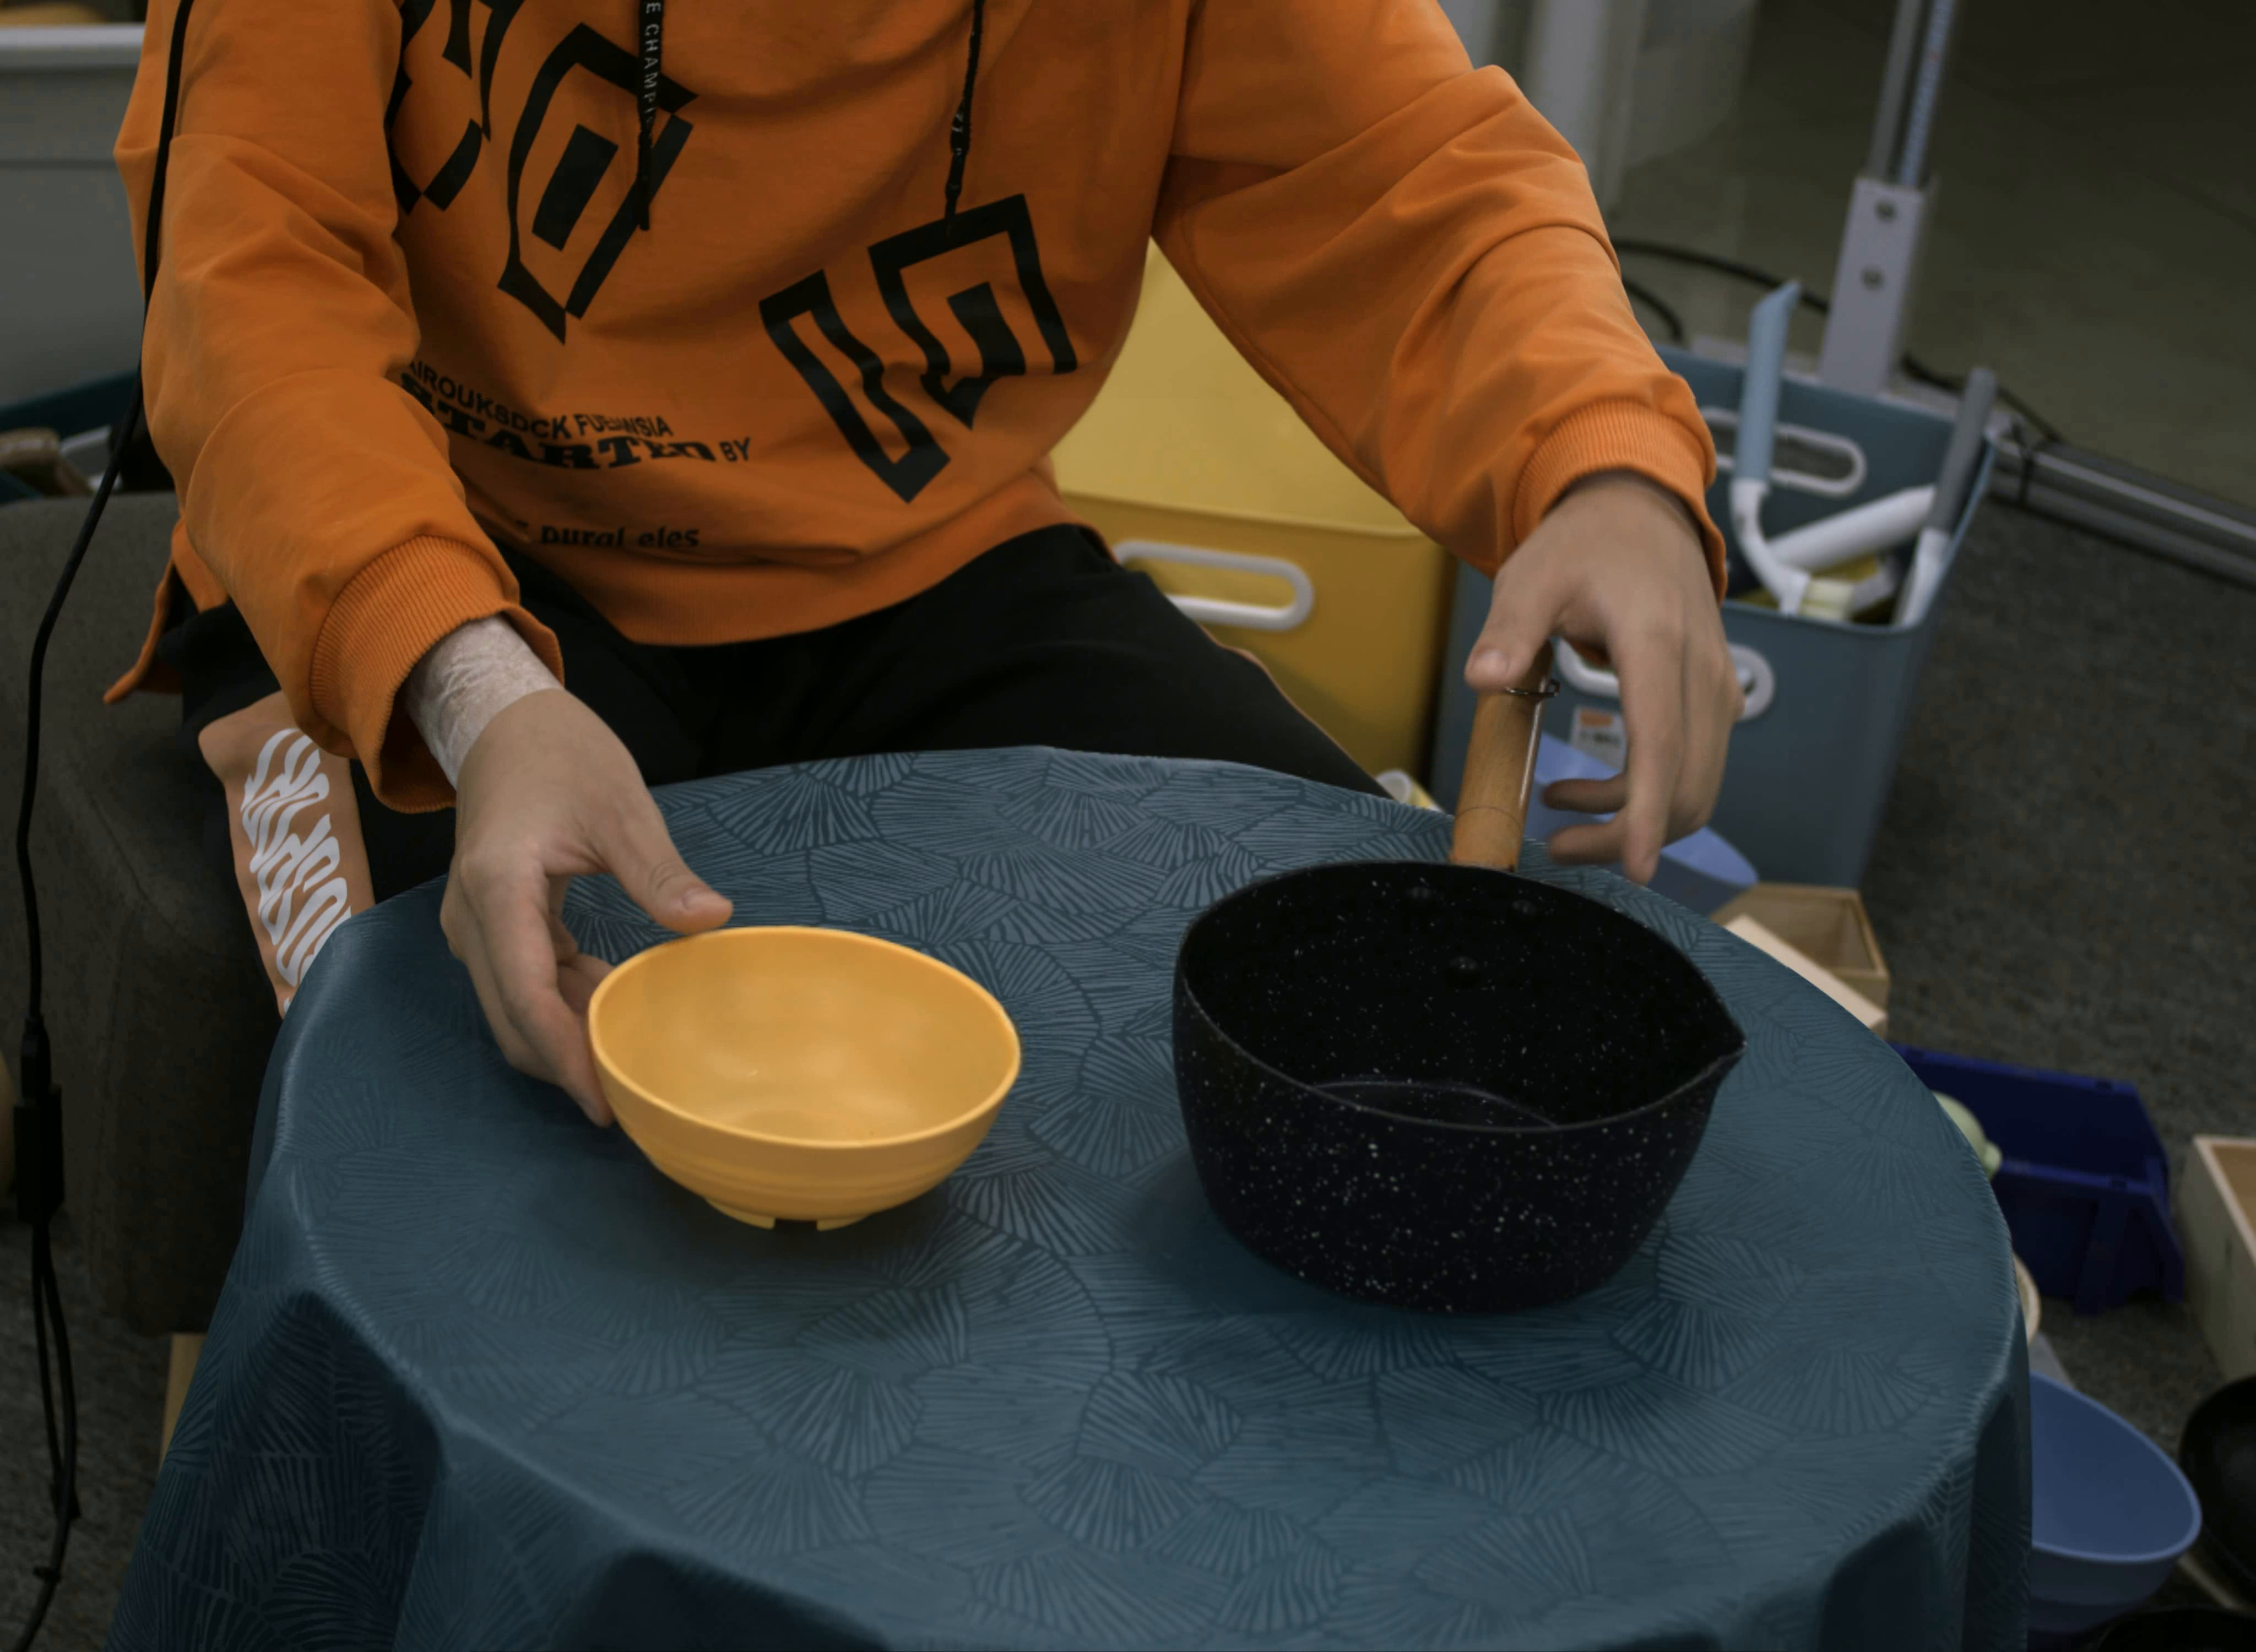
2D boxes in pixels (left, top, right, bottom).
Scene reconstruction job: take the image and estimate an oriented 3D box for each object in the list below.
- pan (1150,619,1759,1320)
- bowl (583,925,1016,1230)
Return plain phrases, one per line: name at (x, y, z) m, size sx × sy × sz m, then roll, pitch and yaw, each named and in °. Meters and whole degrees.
pan at (0.116, 0.046, 1.863) m, size 0.207 × 0.108 × 0.344 m, roll 8°, pitch 28°, yaw 5°
bowl at (-0.112, 0.093, 1.773) m, size 0.145 × 0.060 × 0.146 m, roll 6°, pitch 26°, yaw -3°
